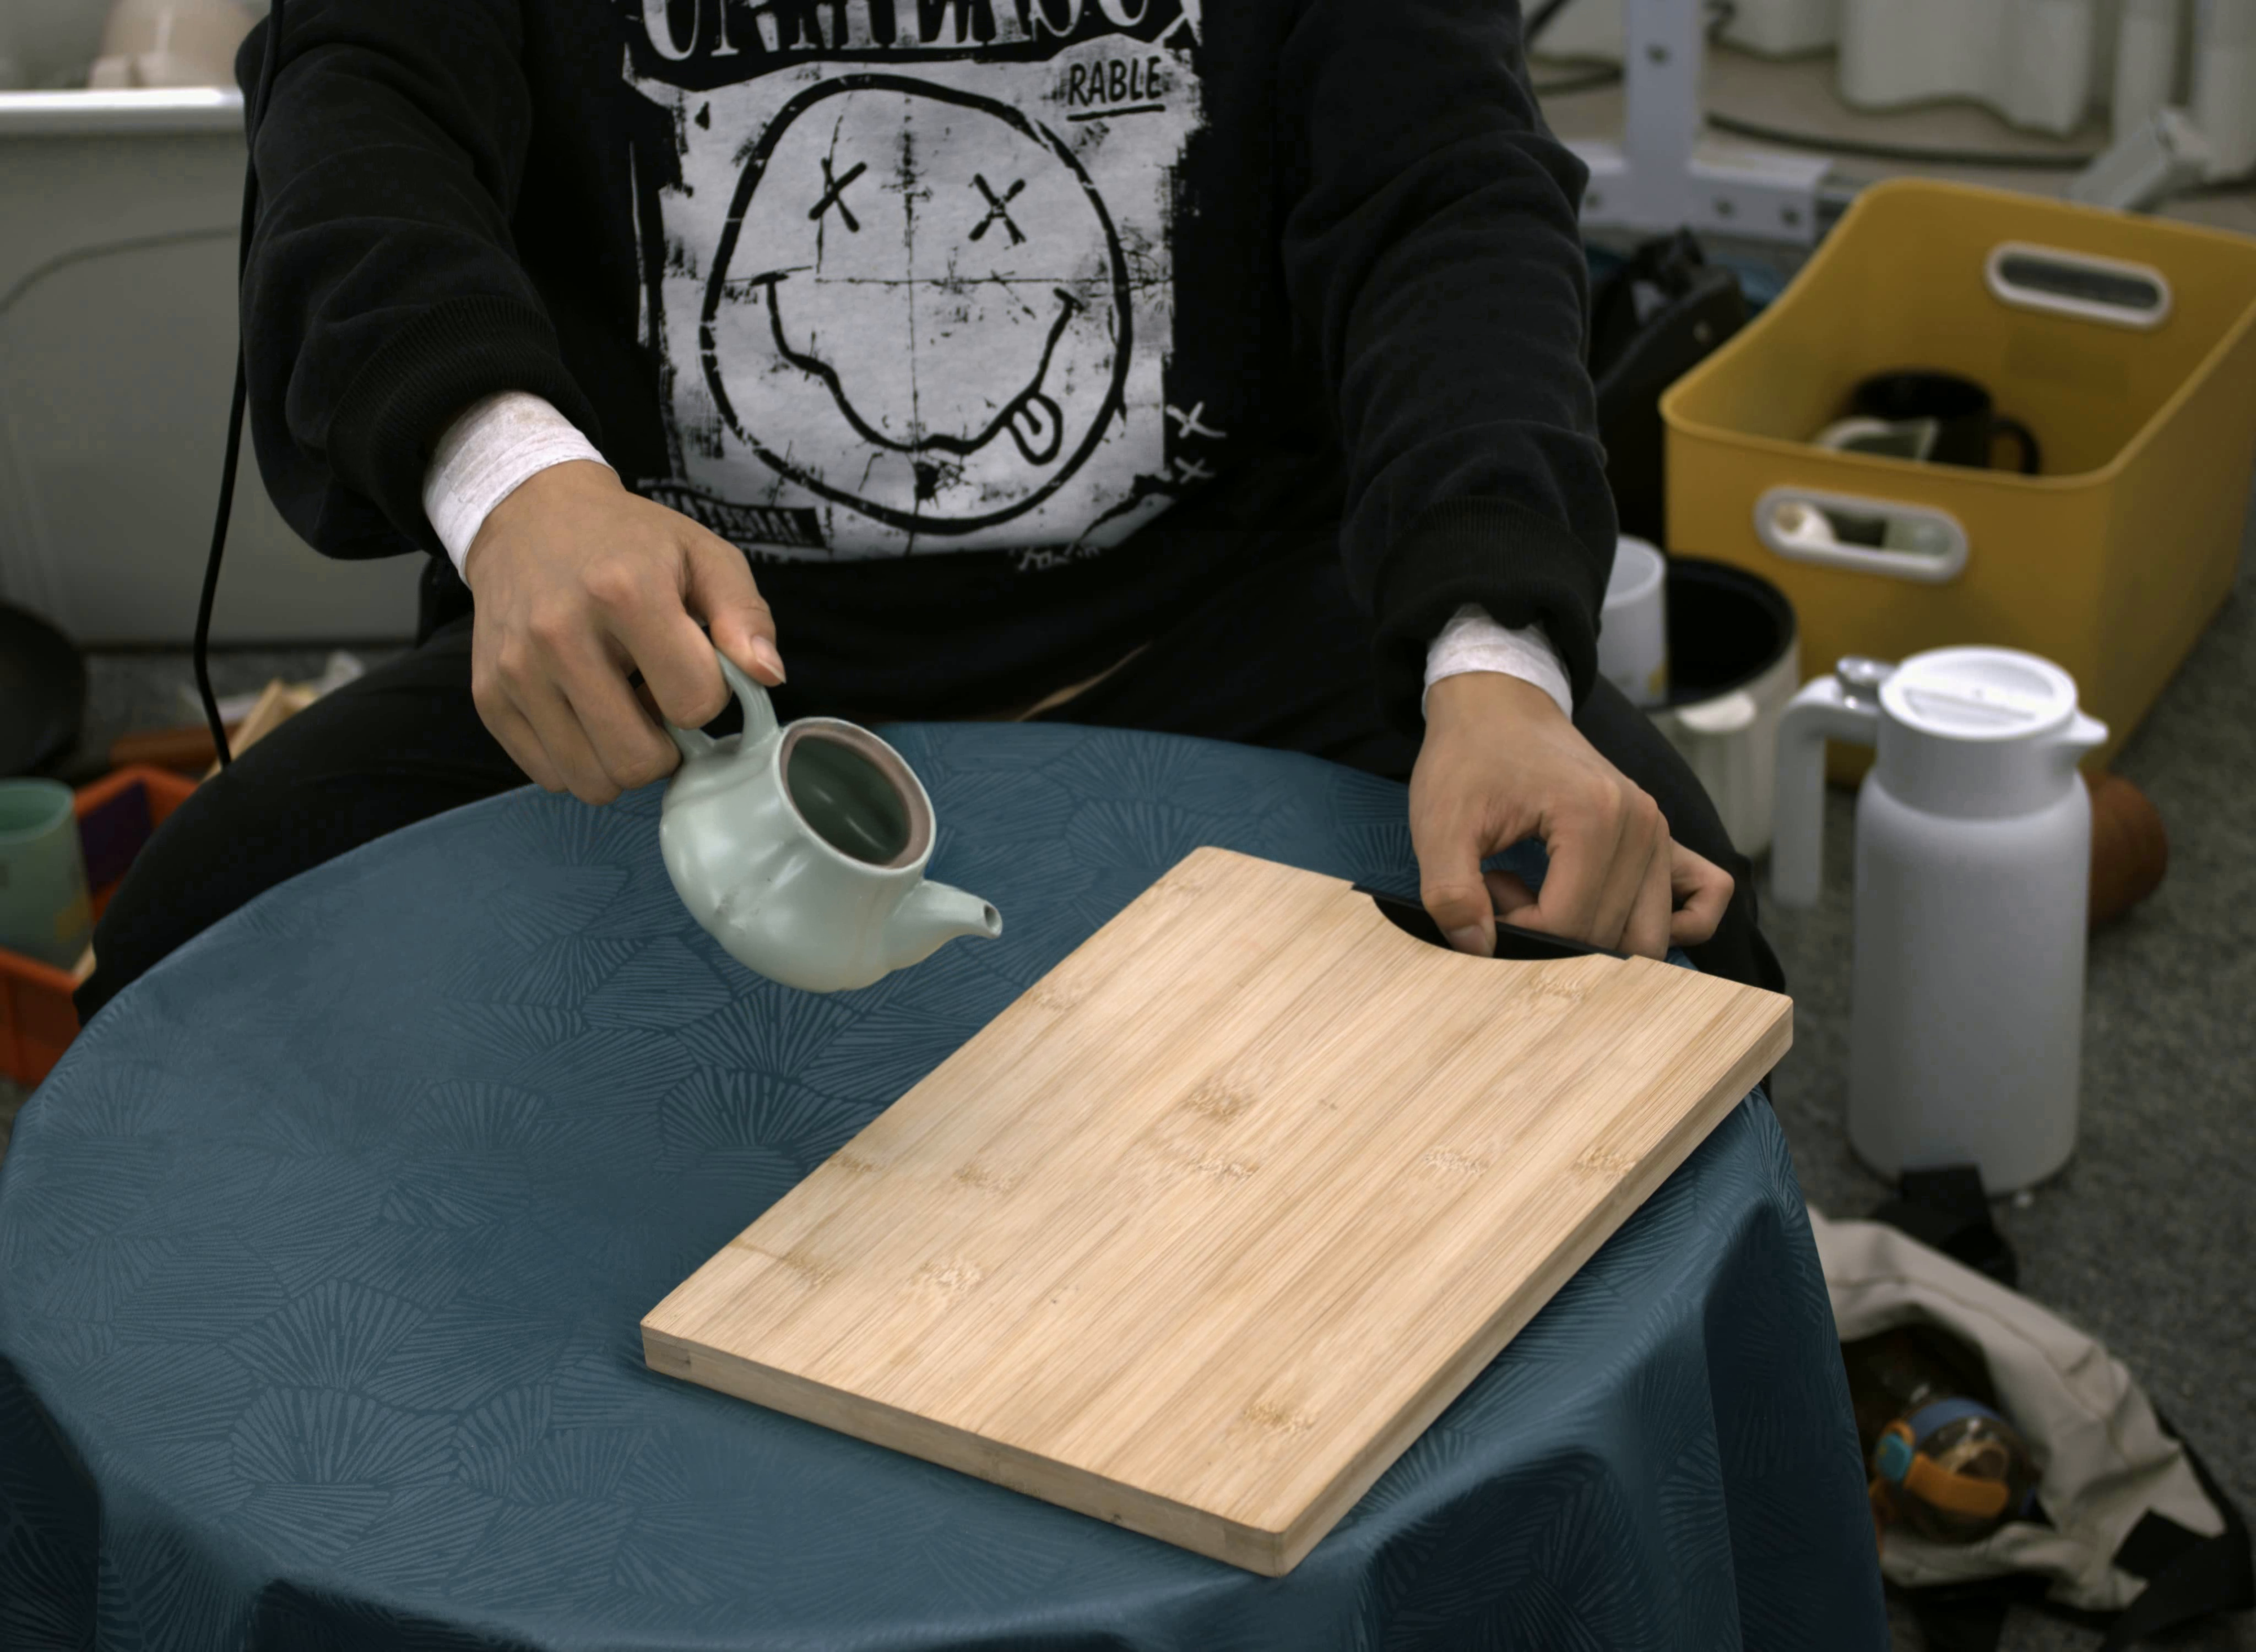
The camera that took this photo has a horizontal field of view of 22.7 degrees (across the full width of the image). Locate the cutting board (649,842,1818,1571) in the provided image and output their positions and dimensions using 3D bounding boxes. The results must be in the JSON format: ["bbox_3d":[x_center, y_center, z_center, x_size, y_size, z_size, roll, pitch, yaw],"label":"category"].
[{"bbox_3d":[0.039,0.114,1.843,0.249,0.023,0.354,14,33,28],"label":"cutting board"}]

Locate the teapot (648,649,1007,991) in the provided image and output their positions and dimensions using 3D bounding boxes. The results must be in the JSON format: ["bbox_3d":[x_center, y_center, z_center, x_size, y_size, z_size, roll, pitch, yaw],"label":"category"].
[{"bbox_3d":[-0.106,0.001,1.811,0.137,0.060,0.098,43,37,-3],"label":"teapot"}]
